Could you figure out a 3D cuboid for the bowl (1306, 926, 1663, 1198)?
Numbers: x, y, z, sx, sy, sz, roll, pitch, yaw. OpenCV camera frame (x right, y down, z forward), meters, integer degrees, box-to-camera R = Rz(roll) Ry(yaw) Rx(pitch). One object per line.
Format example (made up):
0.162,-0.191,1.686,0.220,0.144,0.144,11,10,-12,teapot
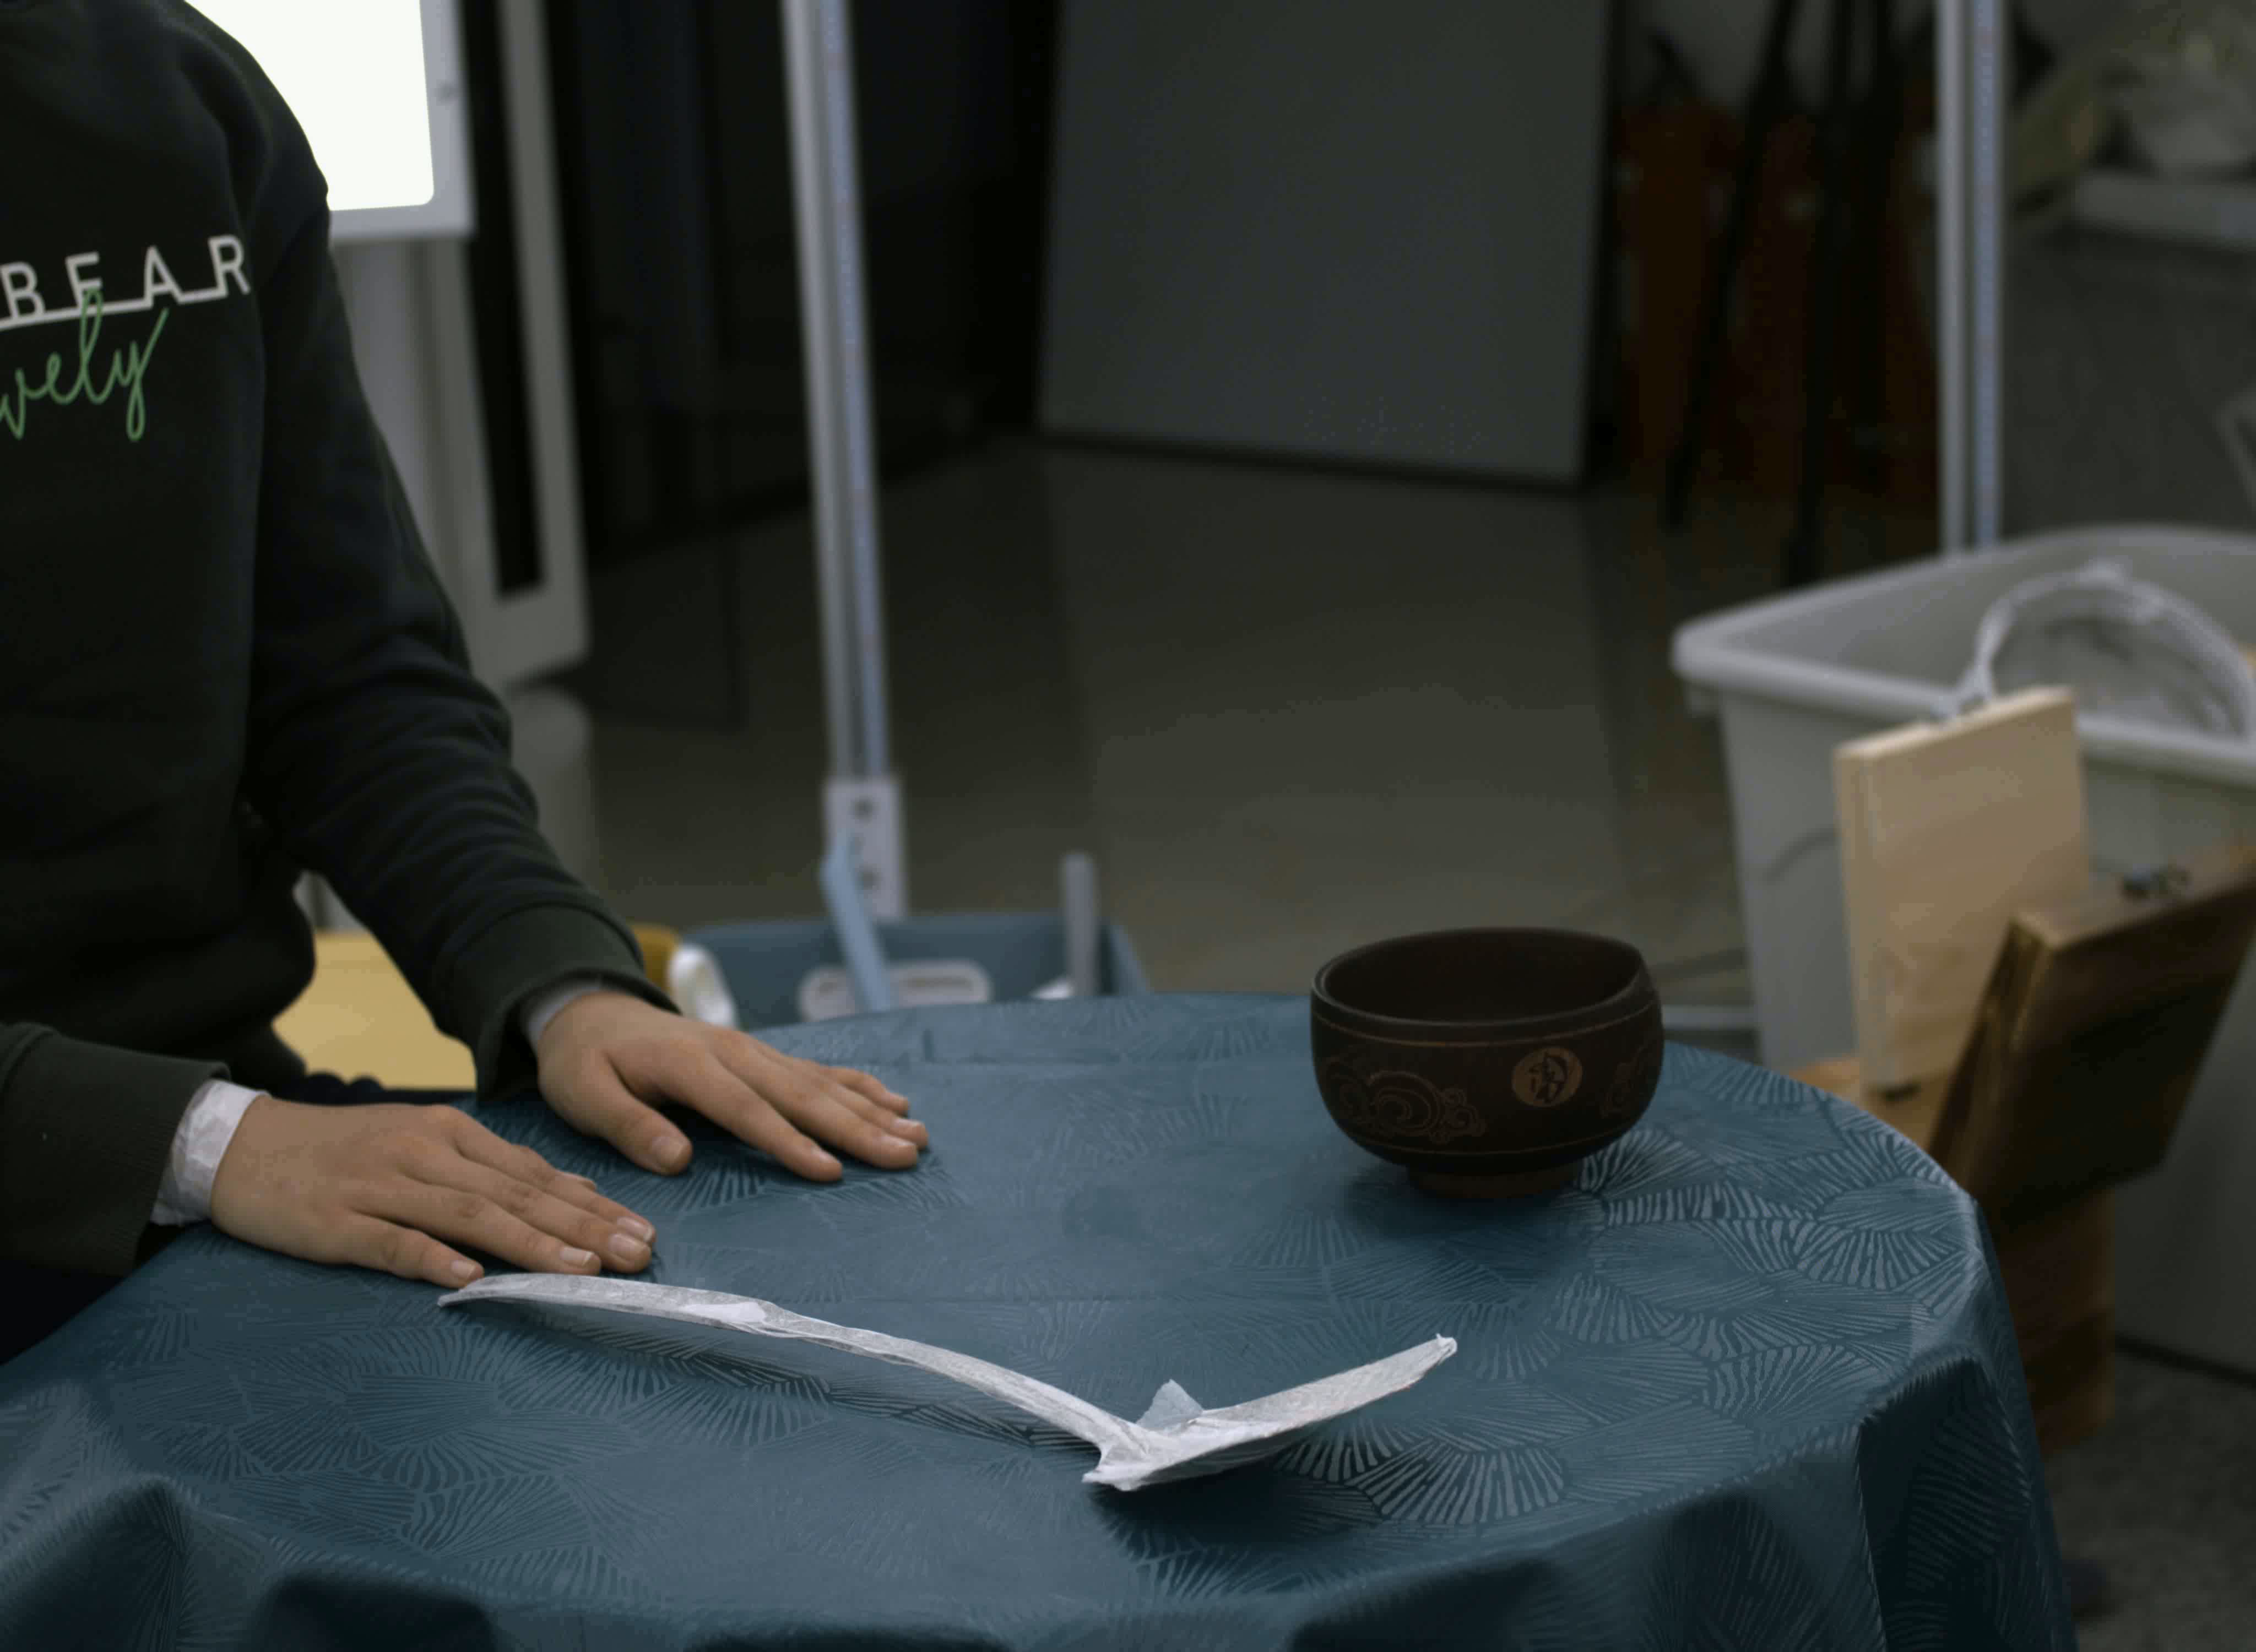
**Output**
0.117,0.080,1.755,0.116,0.070,0.118,-5,12,0,bowl

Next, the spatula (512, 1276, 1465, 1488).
-0.062,0.151,1.587,0.368,0.045,0.097,8,20,40,spatula
